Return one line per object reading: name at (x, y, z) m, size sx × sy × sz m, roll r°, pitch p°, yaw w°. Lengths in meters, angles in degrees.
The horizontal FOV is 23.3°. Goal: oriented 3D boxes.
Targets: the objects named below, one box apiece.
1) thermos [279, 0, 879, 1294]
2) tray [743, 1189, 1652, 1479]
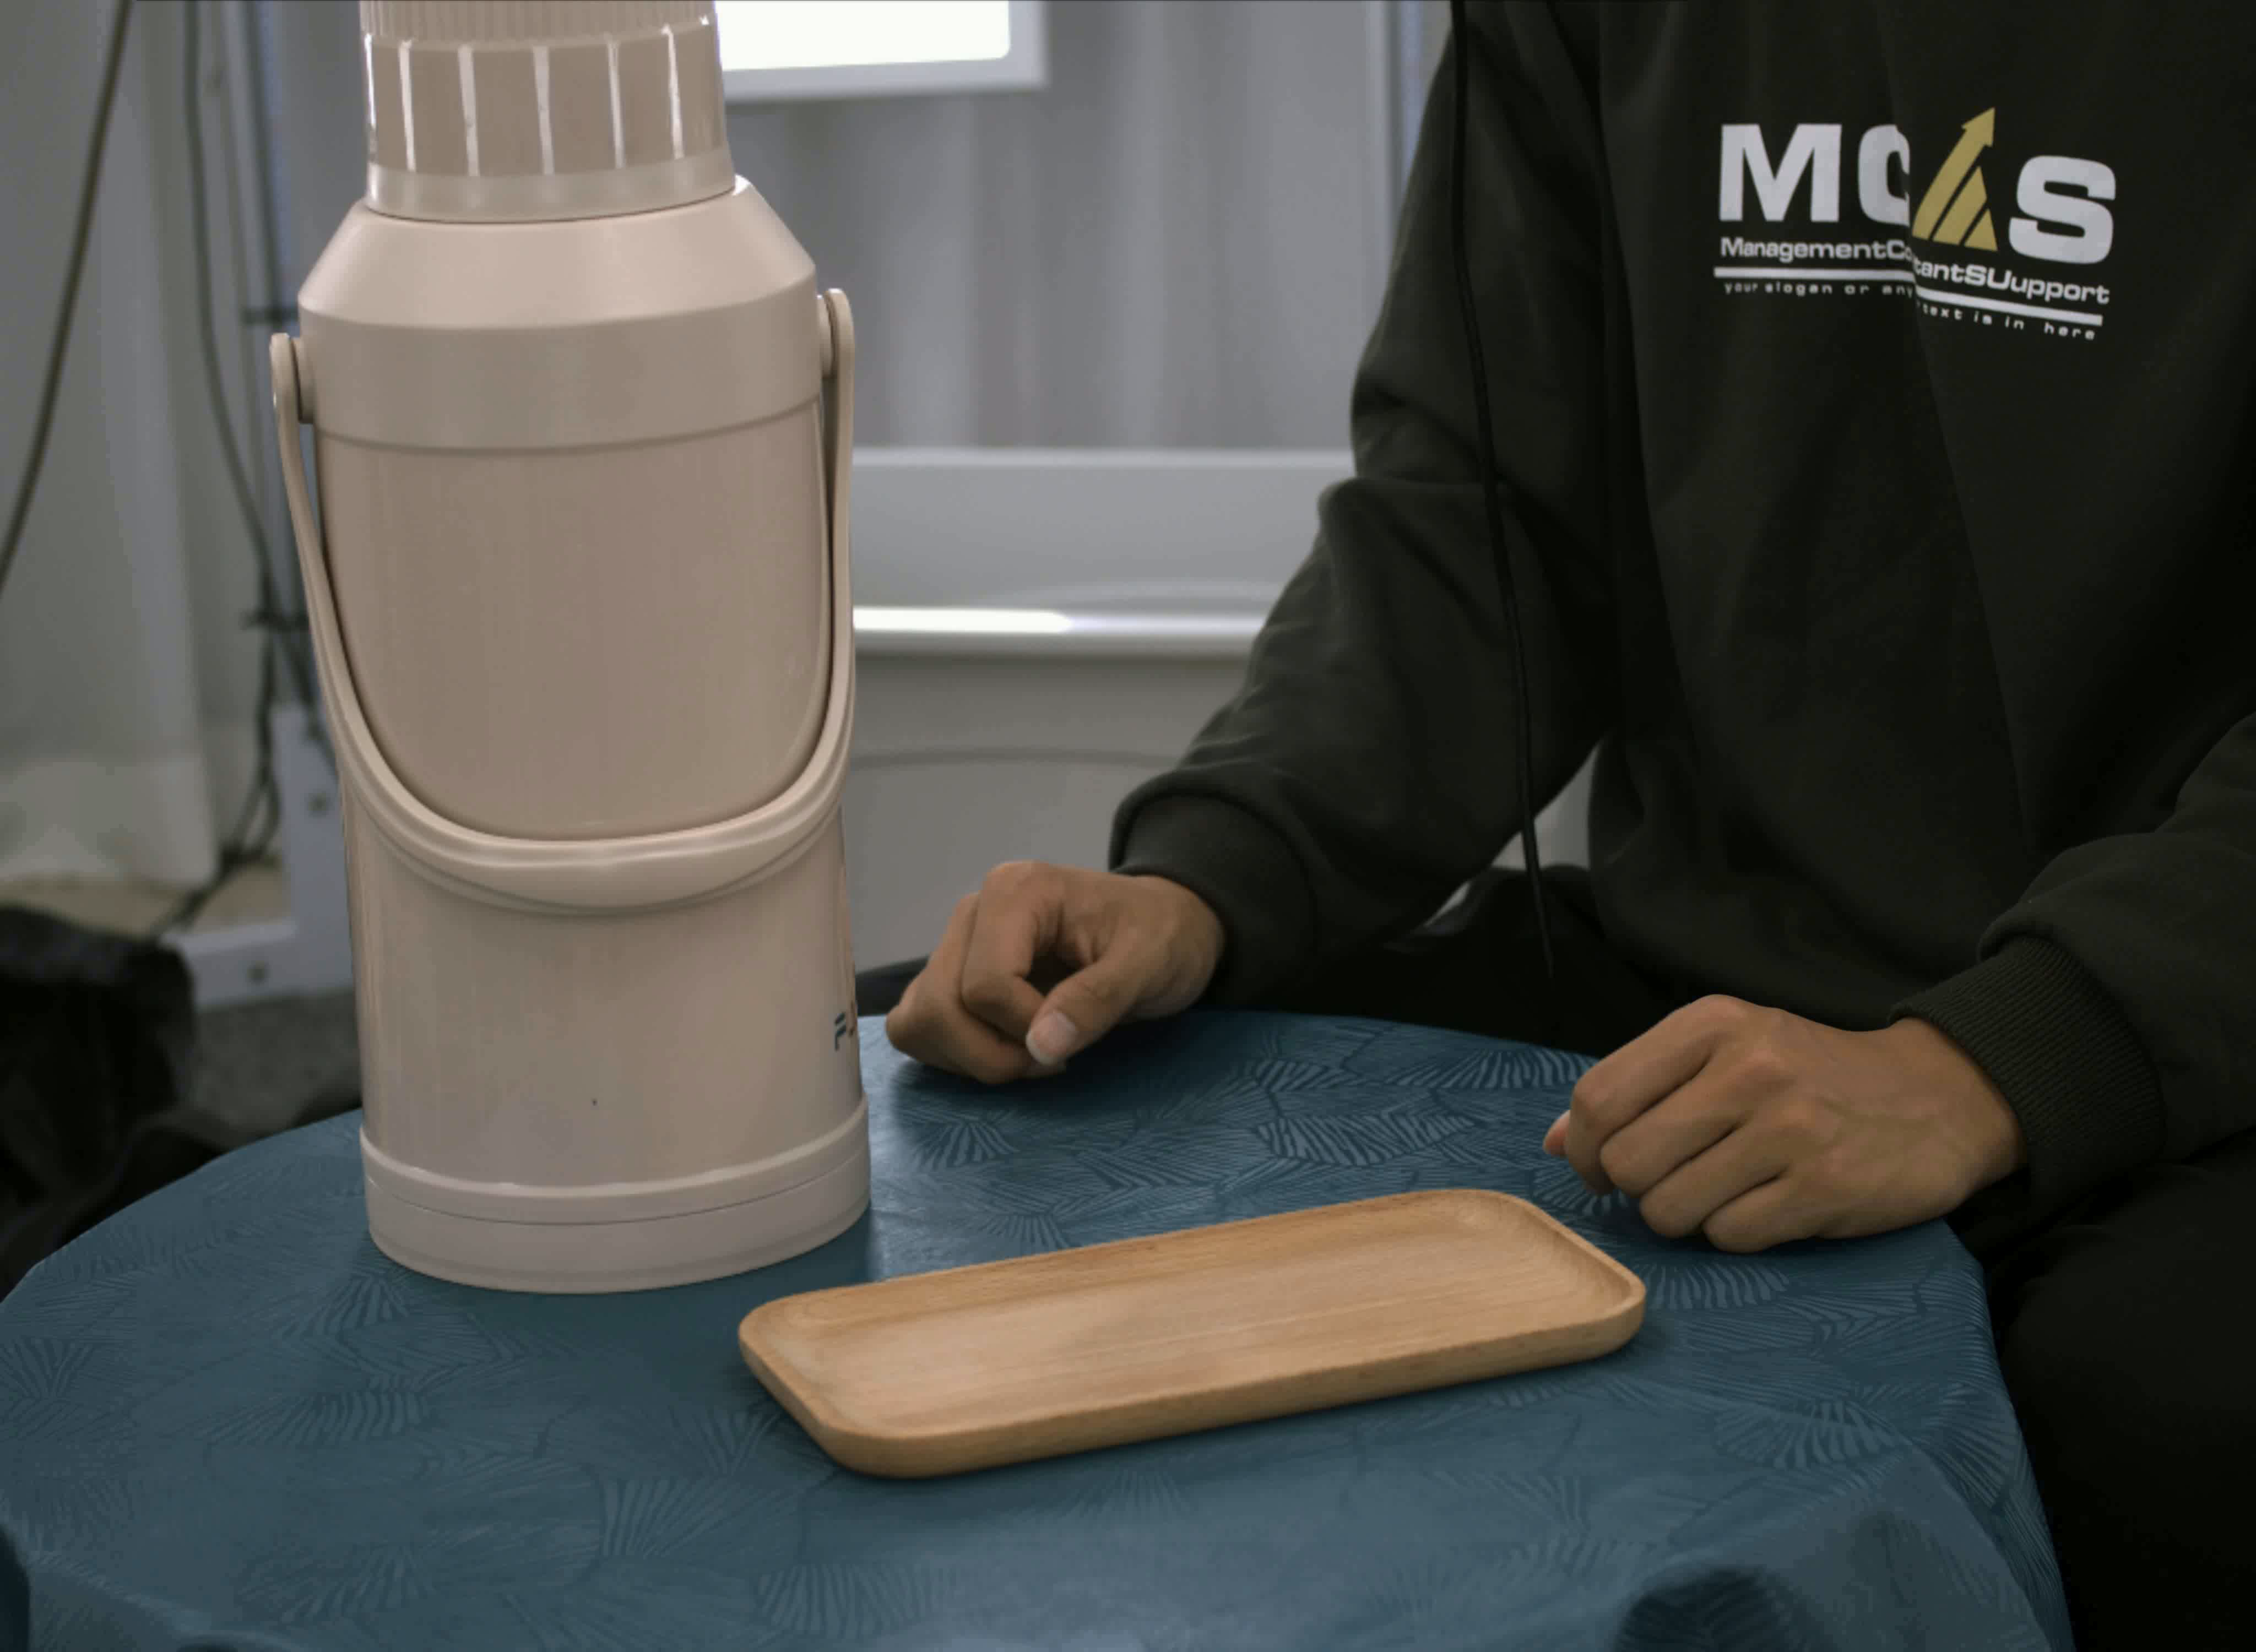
thermos at (-0.167, -0.074, 1.691) m, size 0.174 × 0.405 × 0.208 m, roll -7°, pitch 15°, yaw -13°
tray at (0.020, 0.145, 1.571) m, size 0.249 × 0.023 × 0.132 m, roll -7°, pitch 18°, yaw -18°
